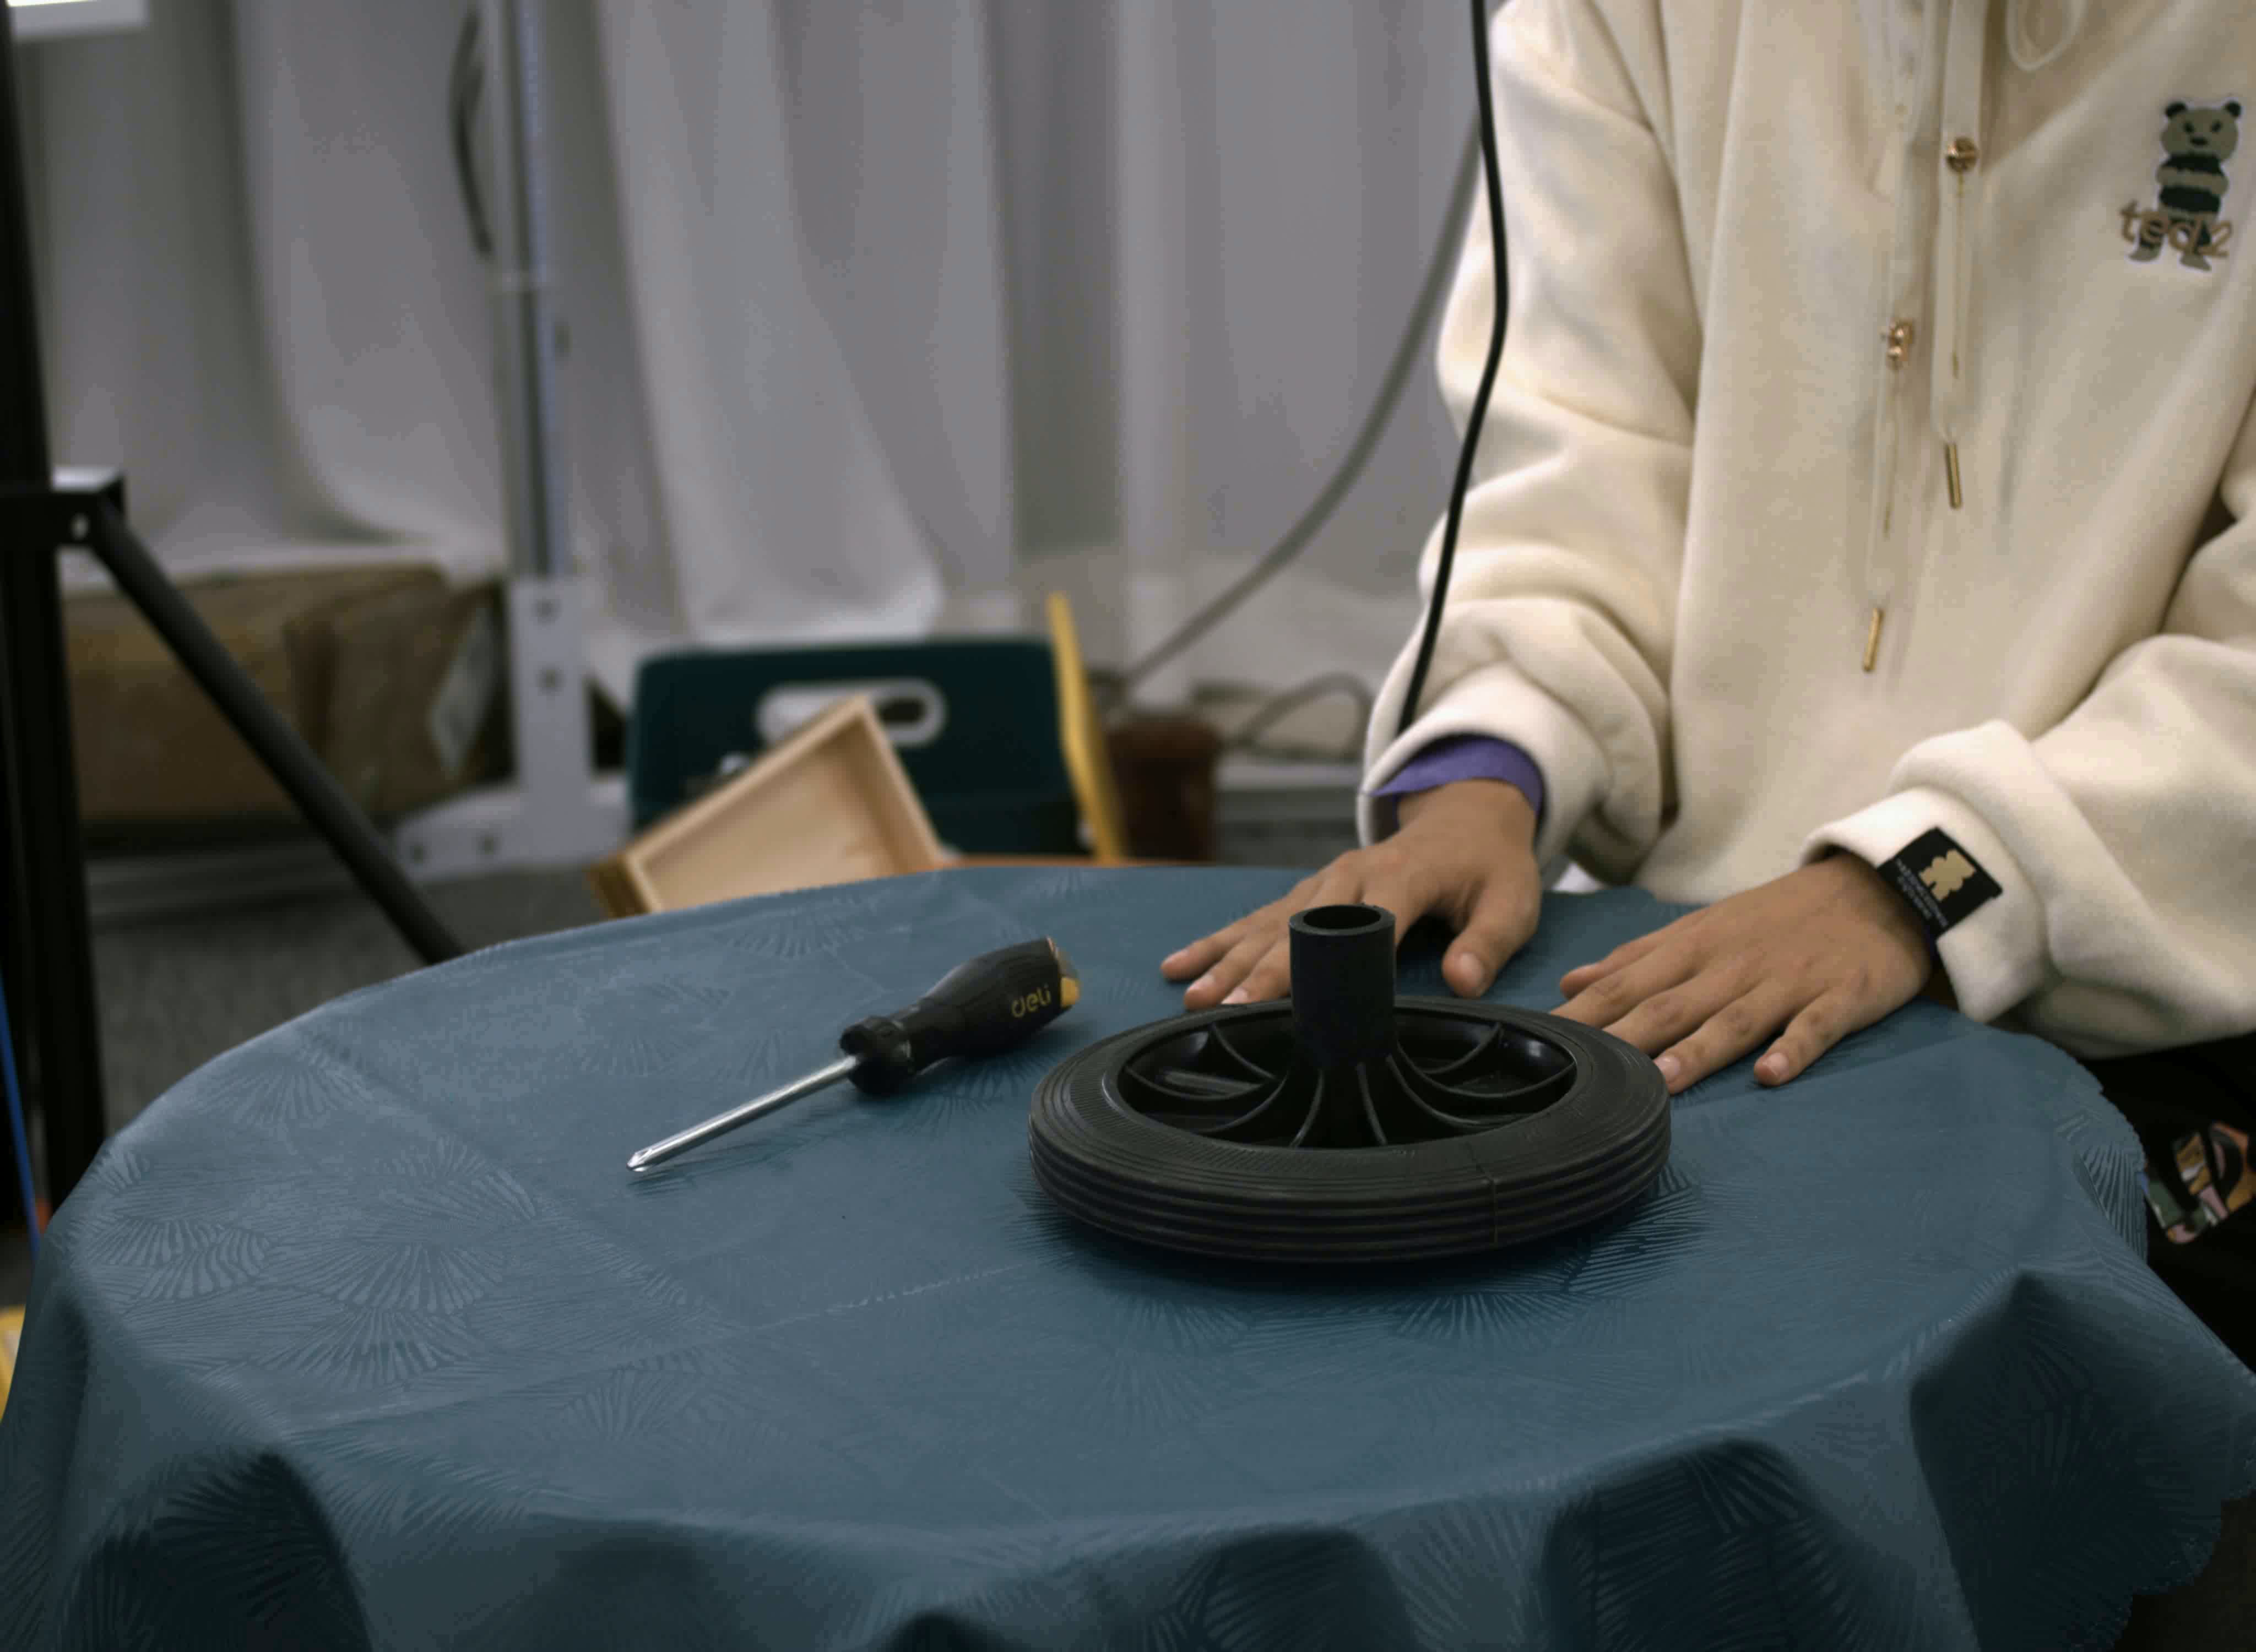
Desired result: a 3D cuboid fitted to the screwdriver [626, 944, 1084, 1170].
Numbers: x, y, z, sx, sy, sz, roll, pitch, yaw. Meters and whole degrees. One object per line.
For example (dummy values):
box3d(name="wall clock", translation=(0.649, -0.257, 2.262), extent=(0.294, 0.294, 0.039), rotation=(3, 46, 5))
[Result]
box3d(name="screwdriver", translation=(-0.082, 0.074, 1.649), extent=(0.032, 0.031, 0.192), rotation=(11, 23, 39))

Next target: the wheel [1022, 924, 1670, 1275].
box3d(name="wheel", translation=(0.061, 0.071, 1.544), extent=(0.191, 0.079, 0.186), rotation=(-2, 15, 14))
